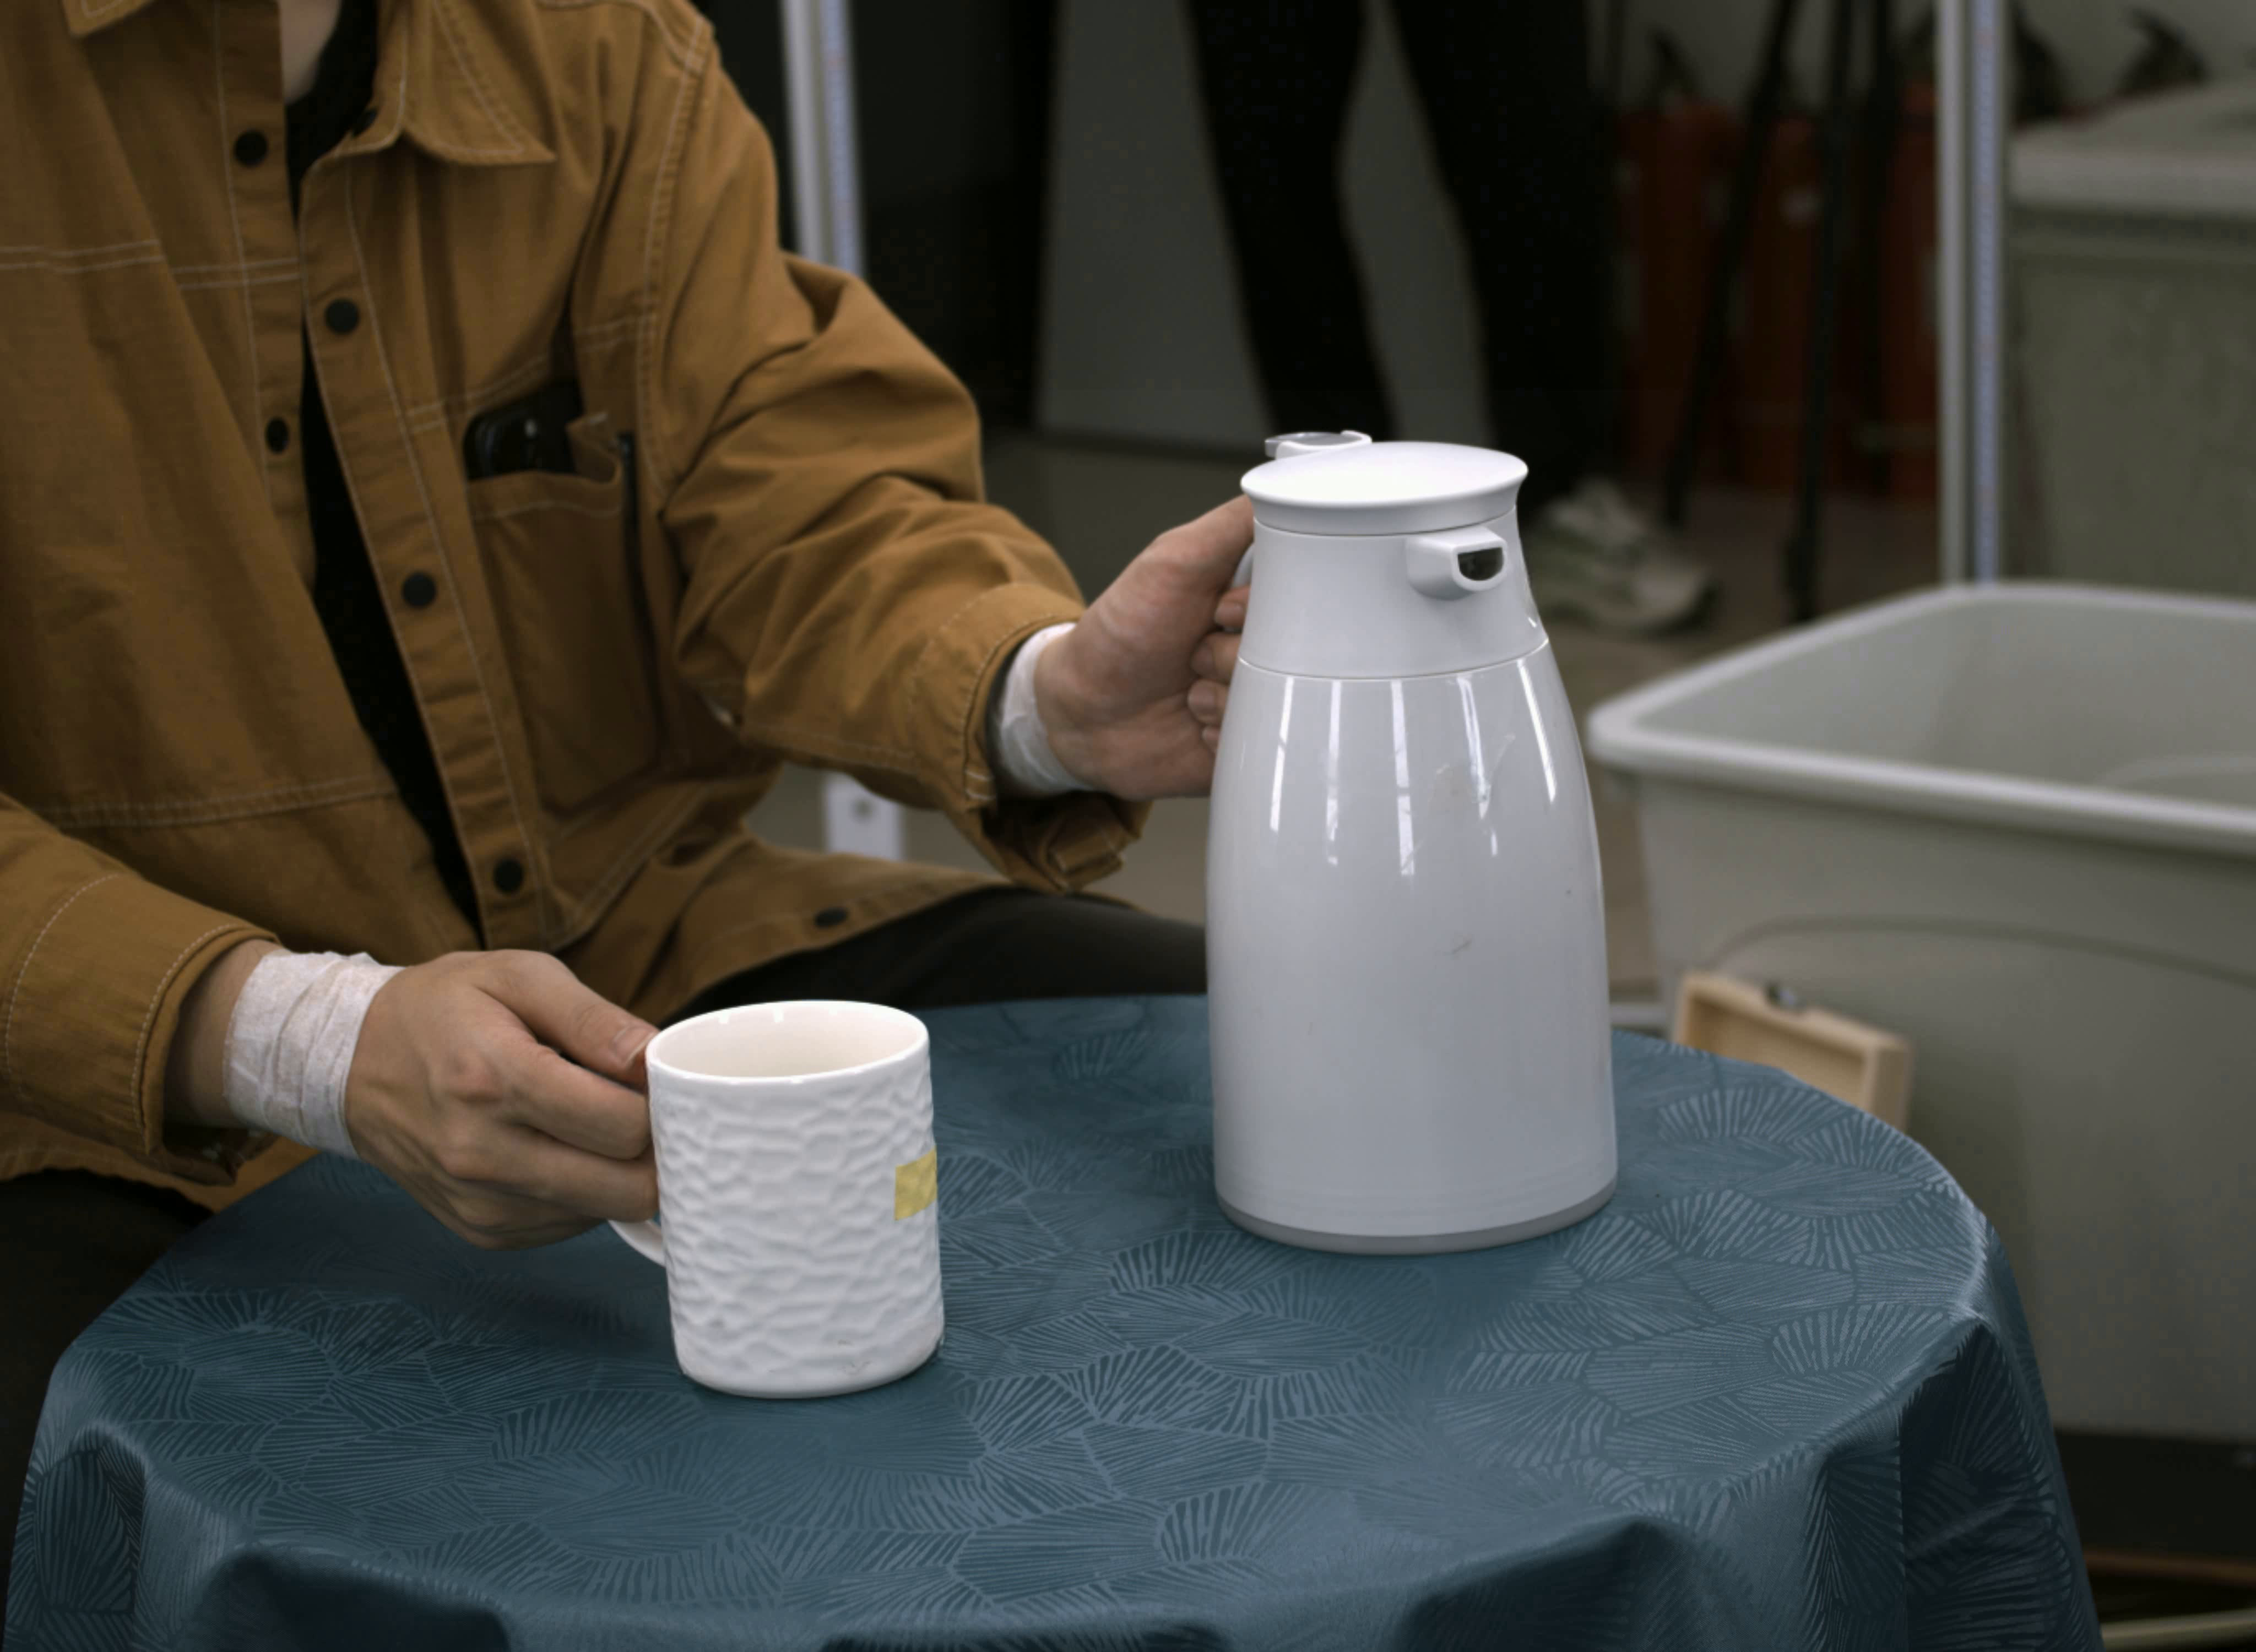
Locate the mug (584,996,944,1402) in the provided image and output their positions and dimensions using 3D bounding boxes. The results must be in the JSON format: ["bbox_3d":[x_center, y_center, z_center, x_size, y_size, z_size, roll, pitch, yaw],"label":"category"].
[{"bbox_3d":[-0.113,0.111,1.635,0.119,0.103,0.083,4,16,32],"label":"mug"}]

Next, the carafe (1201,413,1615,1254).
[{"bbox_3d":[0.076,-0.006,1.741,0.130,0.251,0.169,-11,15,-25],"label":"carafe"}]
